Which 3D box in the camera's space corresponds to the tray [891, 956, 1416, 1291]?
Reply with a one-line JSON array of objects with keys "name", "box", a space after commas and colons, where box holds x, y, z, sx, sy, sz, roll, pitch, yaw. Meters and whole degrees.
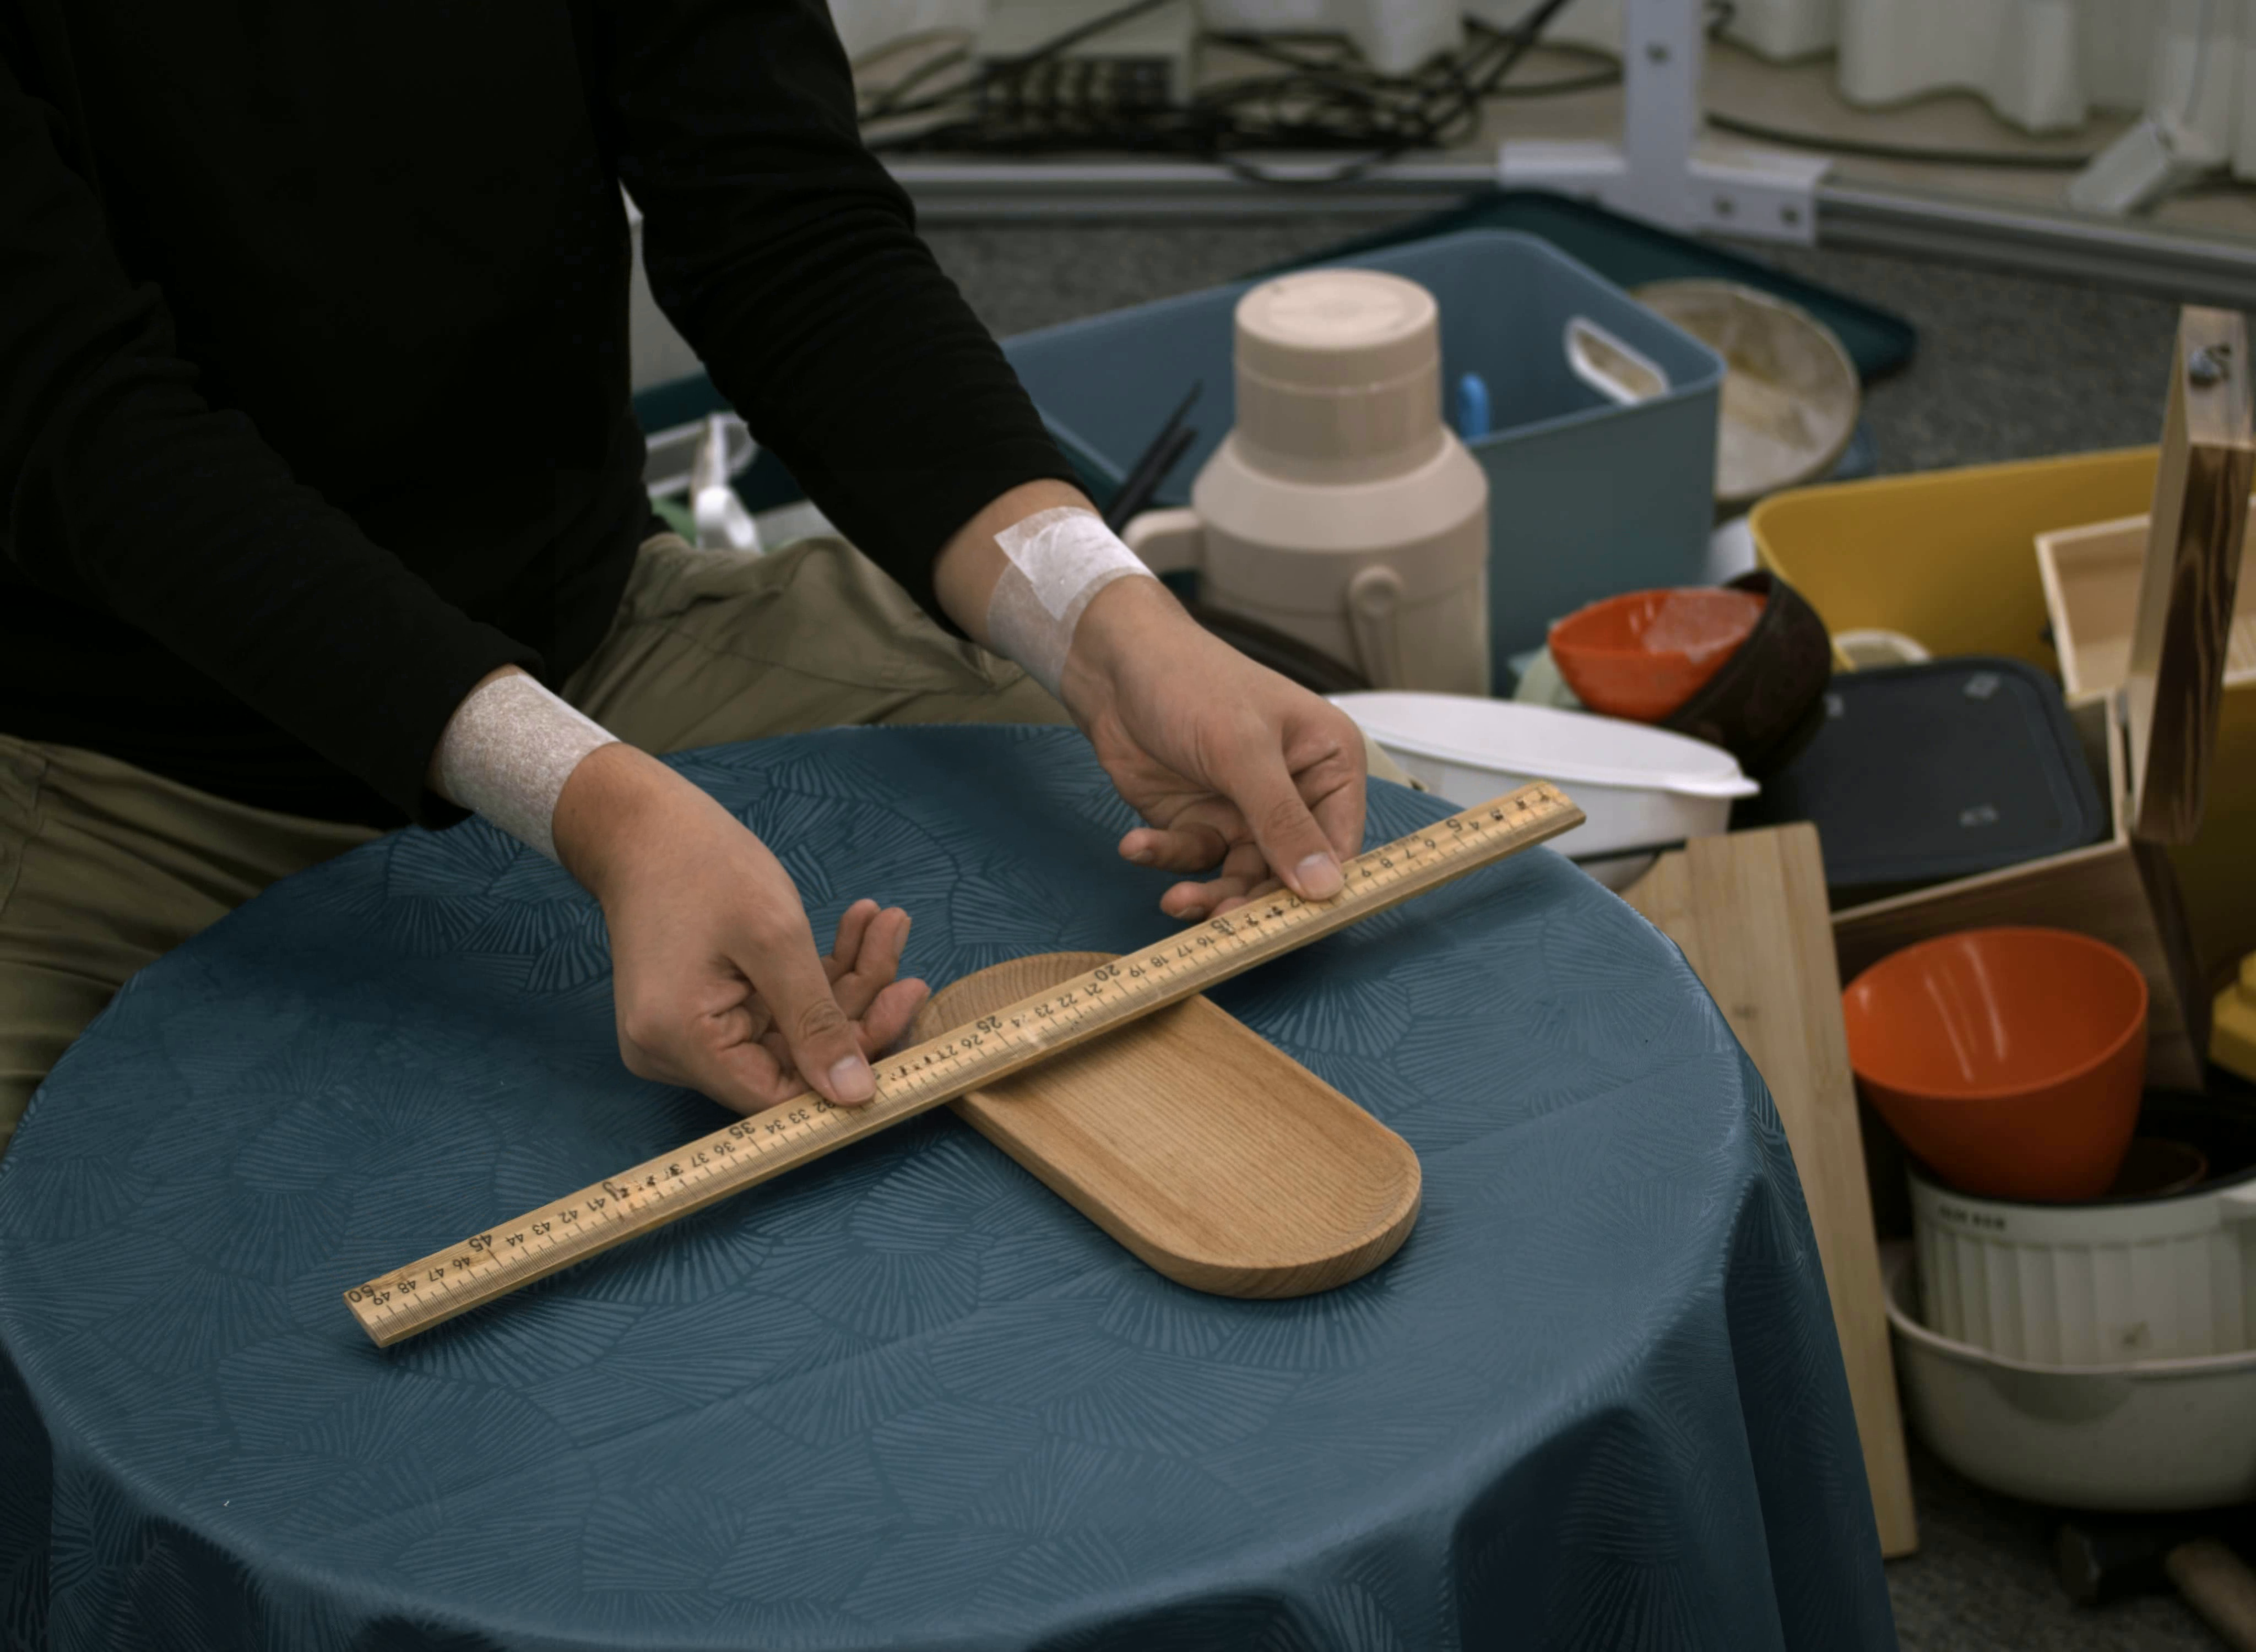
[{"name": "tray", "box": [0.007, 0.098, 1.887, 0.102, 0.020, 0.231, -20, 30, -30]}]

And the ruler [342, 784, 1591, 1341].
[{"name": "ruler", "box": [-0.043, 0.074, 1.913, 0.505, 0.006, 0.027, -22, 49, -30]}]
